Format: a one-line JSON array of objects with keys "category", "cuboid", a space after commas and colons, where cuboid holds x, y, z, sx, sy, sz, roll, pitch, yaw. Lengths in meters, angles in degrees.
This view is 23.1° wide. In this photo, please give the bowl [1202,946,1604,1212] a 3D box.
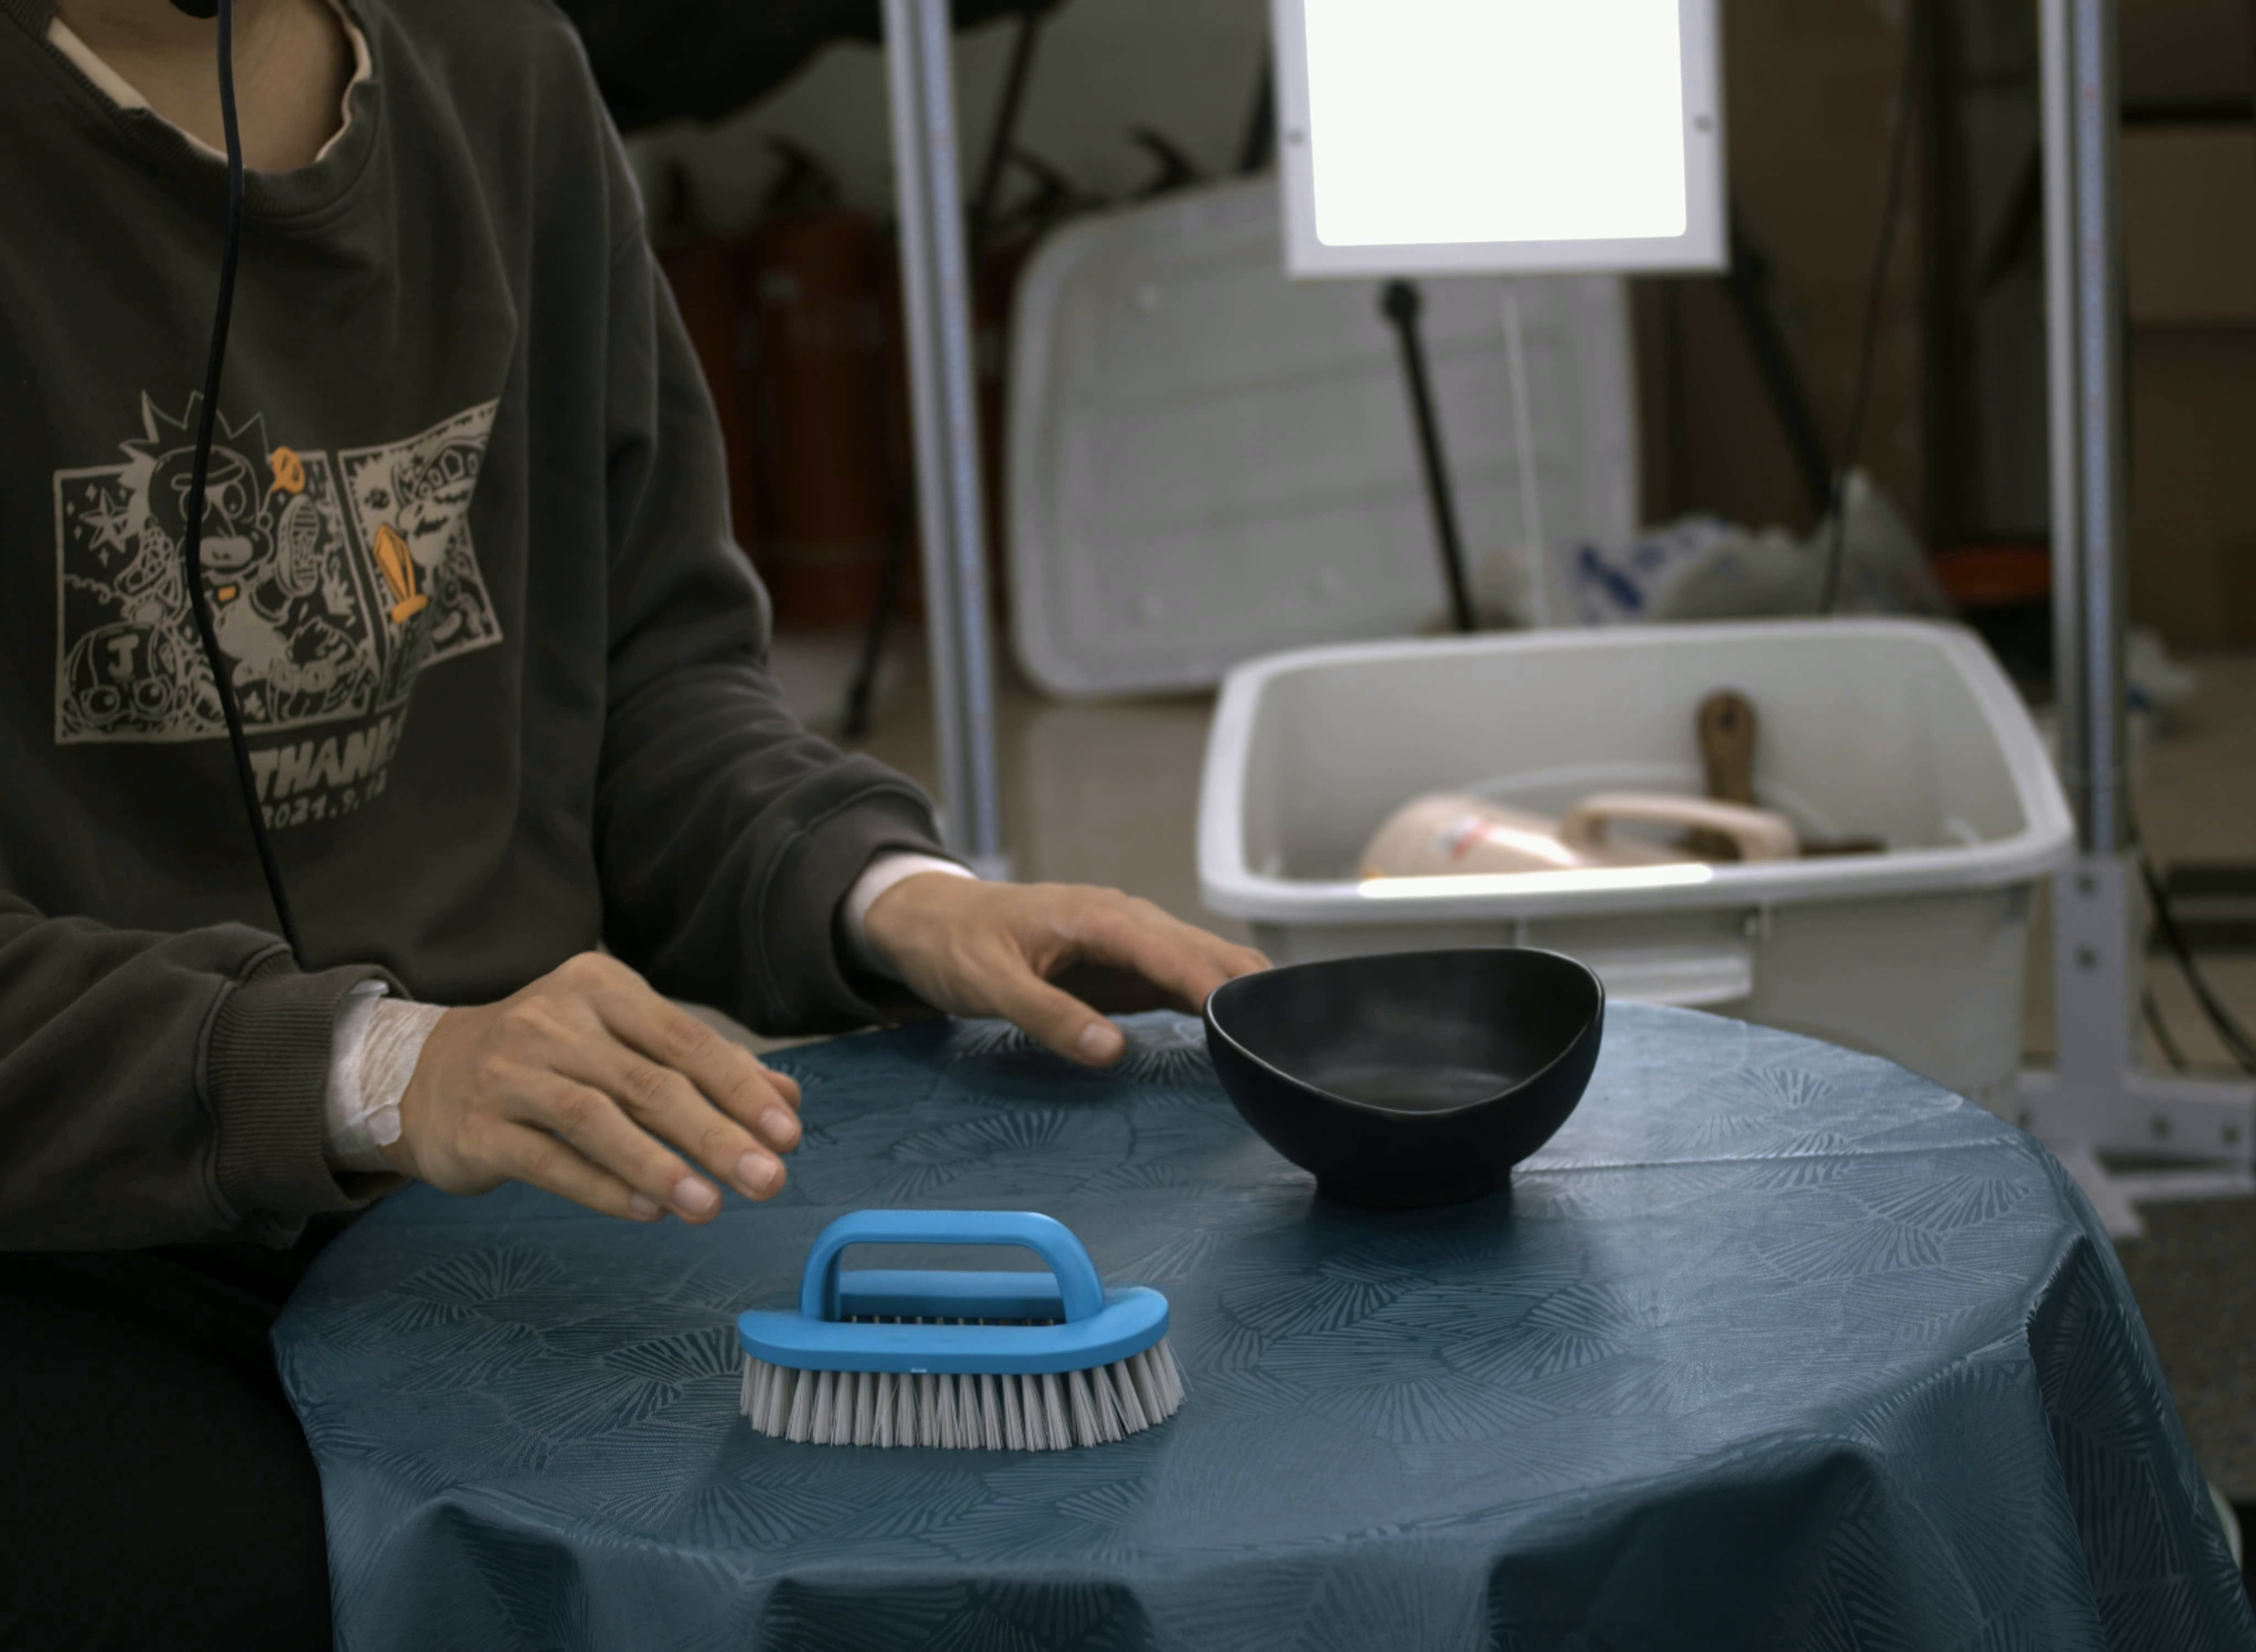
[{"category": "bowl", "cuboid": [0.097, 0.090, 1.878, 0.136, 0.067, 0.170, -7, 16, -4]}]

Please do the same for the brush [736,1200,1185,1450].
[{"category": "brush", "cuboid": [-0.055, 0.147, 1.697, 0.144, 0.064, 0.083, -1, 19, 20]}]
